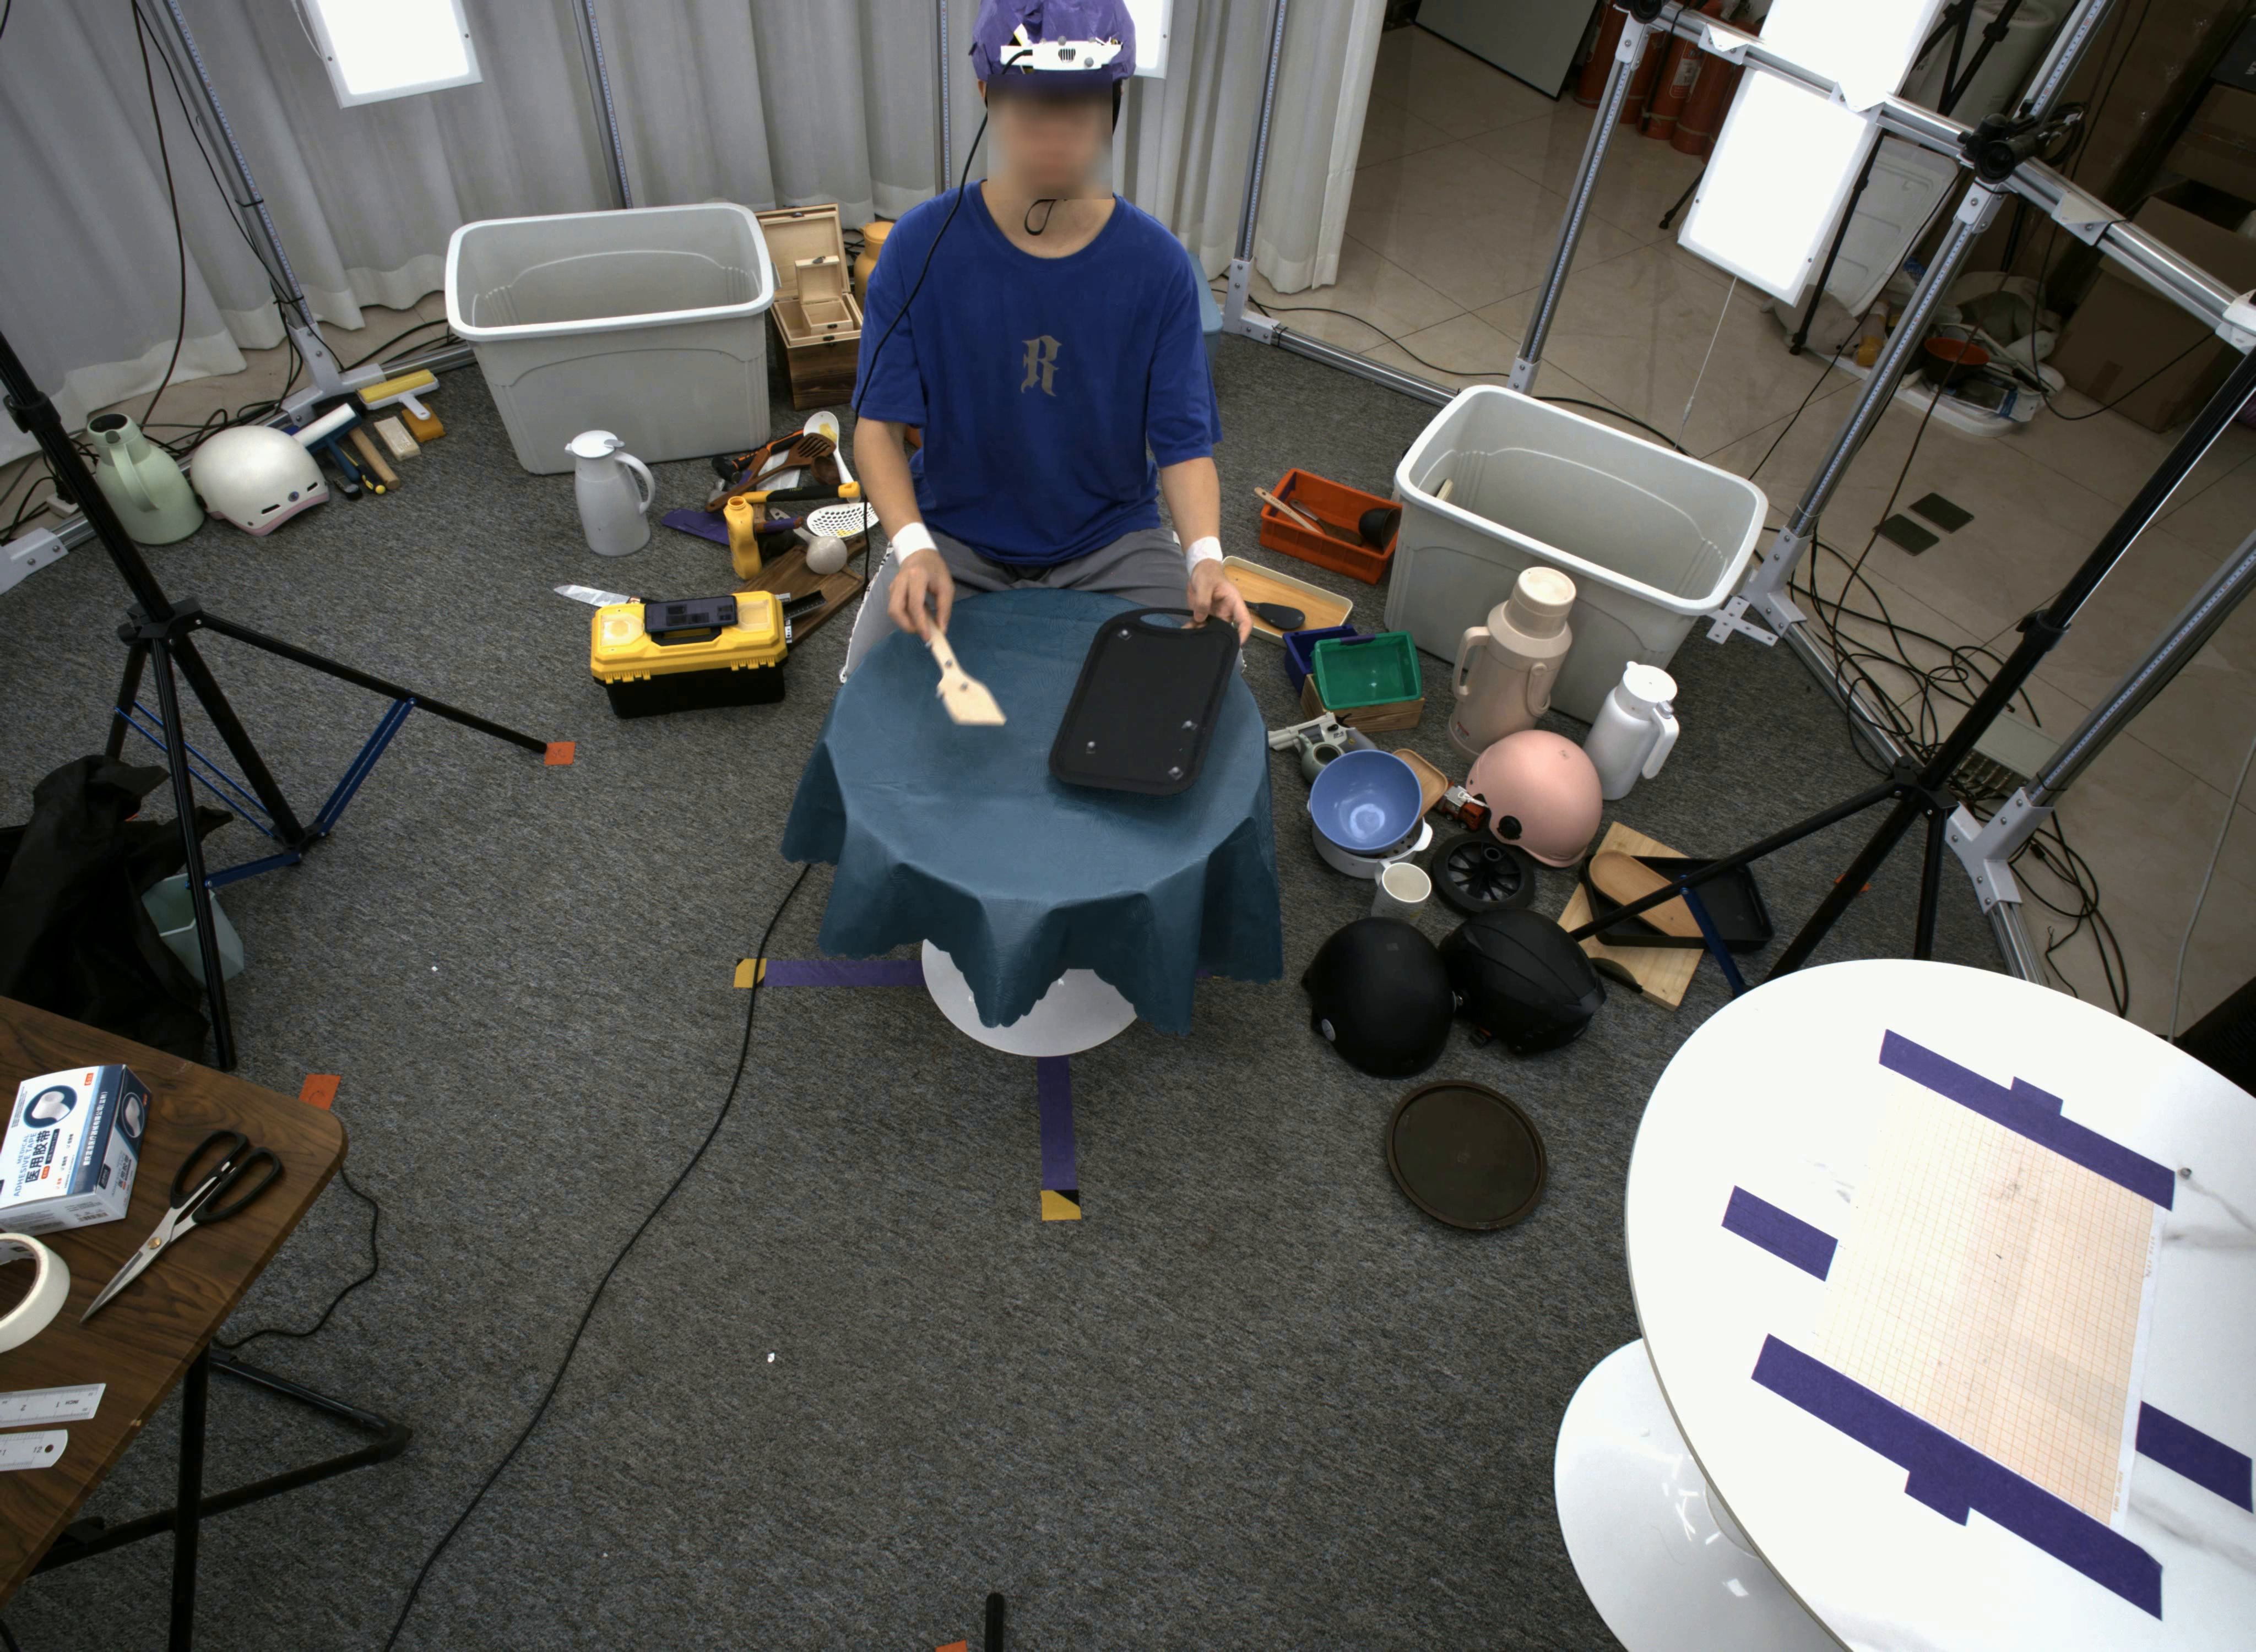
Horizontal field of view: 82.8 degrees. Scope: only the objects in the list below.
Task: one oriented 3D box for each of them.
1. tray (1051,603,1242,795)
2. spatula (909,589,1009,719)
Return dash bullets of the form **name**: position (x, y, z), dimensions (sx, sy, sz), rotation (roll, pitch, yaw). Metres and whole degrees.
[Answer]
- **tray**: position (0.029, -0.184, 1.747), dimensions (0.212, 0.009, 0.332), rotation (8, 57, 18)
- **spatula**: position (-0.244, -0.237, 1.749), dimensions (0.072, 0.010, 0.300), rotation (-1, 42, -32)
